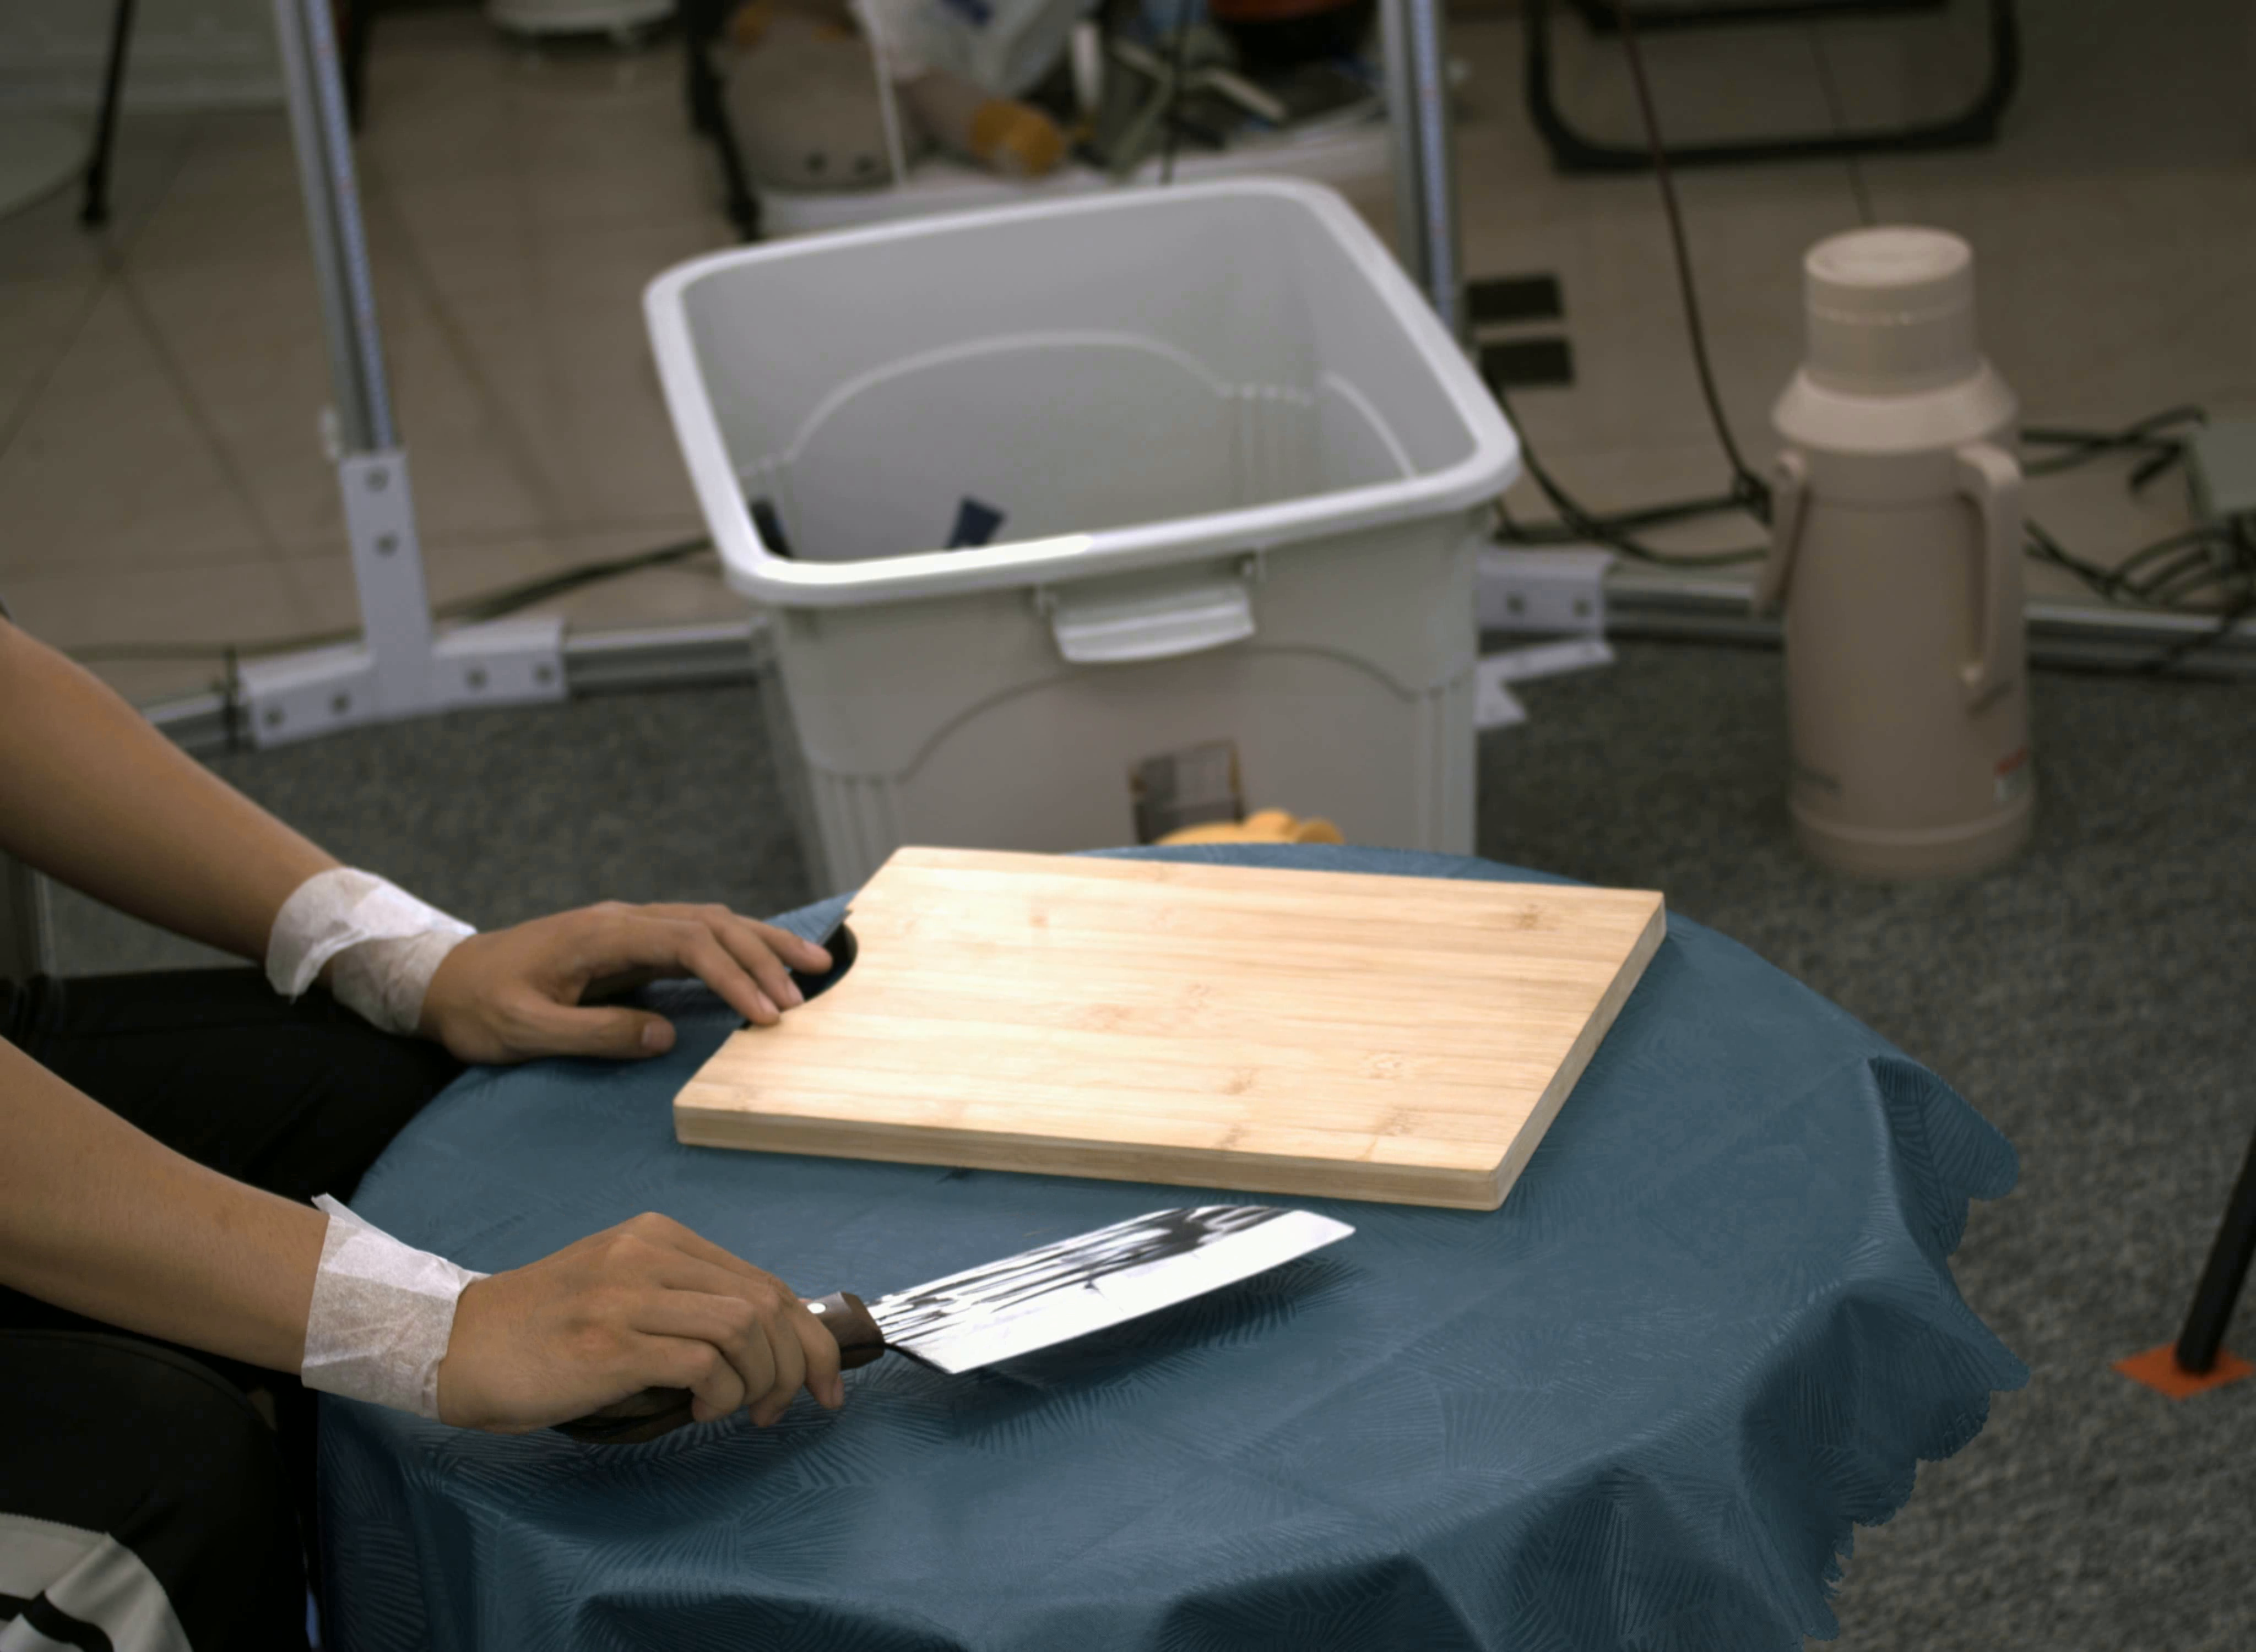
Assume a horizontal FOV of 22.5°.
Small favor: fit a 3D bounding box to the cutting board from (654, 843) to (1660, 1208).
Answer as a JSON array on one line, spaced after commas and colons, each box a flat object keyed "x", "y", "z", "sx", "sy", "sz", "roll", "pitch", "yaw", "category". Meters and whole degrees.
[{"x": 0.015, "y": 0.075, "z": 2.265, "sx": 0.348, "sy": 0.024, "sz": 0.247, "roll": 3, "pitch": 26, "yaw": 20, "category": "cutting board"}]

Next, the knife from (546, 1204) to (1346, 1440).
[{"x": -0.062, "y": 0.175, "z": 2.031, "sx": 0.298, "sy": 0.024, "sz": 0.067, "roll": -15, "pitch": 24, "yaw": -24, "category": "knife"}]
